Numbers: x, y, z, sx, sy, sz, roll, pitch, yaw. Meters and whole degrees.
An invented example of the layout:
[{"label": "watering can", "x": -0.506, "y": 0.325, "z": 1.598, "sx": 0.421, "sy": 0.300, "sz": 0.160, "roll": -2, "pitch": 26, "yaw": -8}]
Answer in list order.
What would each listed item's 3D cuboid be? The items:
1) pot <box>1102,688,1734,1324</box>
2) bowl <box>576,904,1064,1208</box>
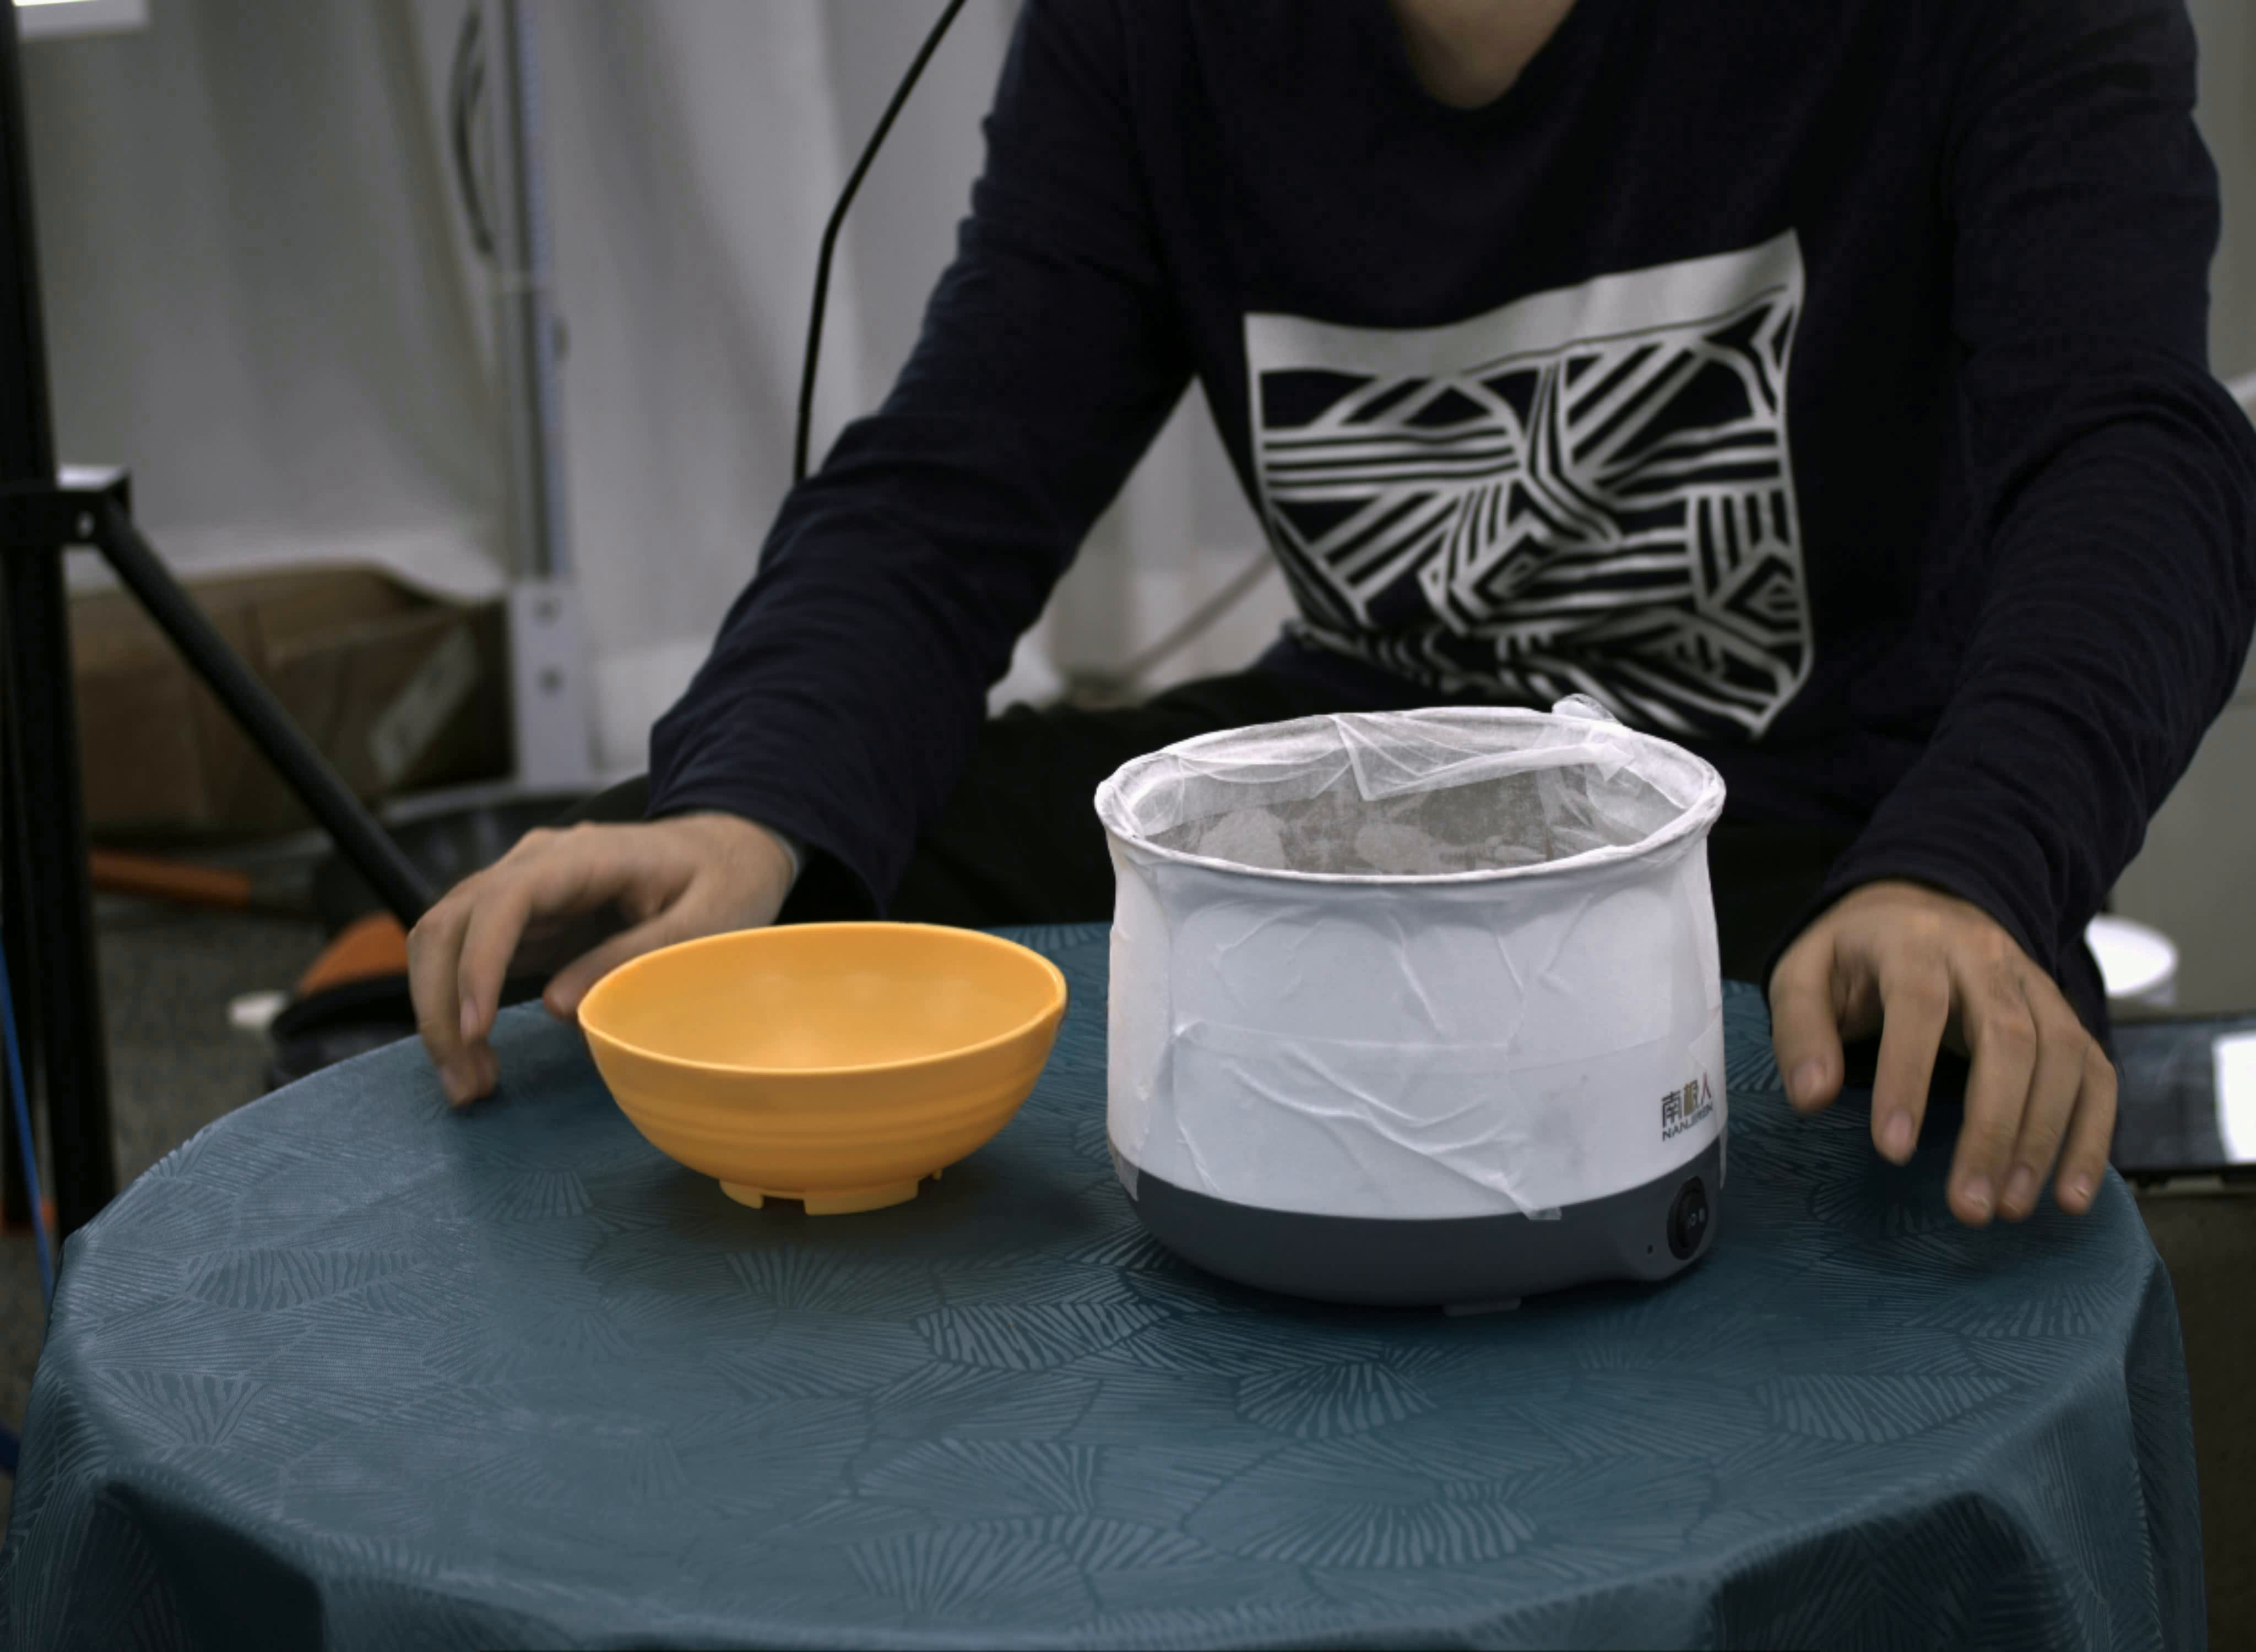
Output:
[{"label": "pot", "x": 0.095, "y": 0.044, "z": 1.522, "sx": 0.182, "sy": 0.136, "sz": 0.229, "roll": 10, "pitch": 21, "yaw": 31}, {"label": "bowl", "x": -0.090, "y": 0.074, "z": 1.580, "sx": 0.144, "sy": 0.060, "sz": 0.146, "roll": -2, "pitch": 18, "yaw": -1}]
